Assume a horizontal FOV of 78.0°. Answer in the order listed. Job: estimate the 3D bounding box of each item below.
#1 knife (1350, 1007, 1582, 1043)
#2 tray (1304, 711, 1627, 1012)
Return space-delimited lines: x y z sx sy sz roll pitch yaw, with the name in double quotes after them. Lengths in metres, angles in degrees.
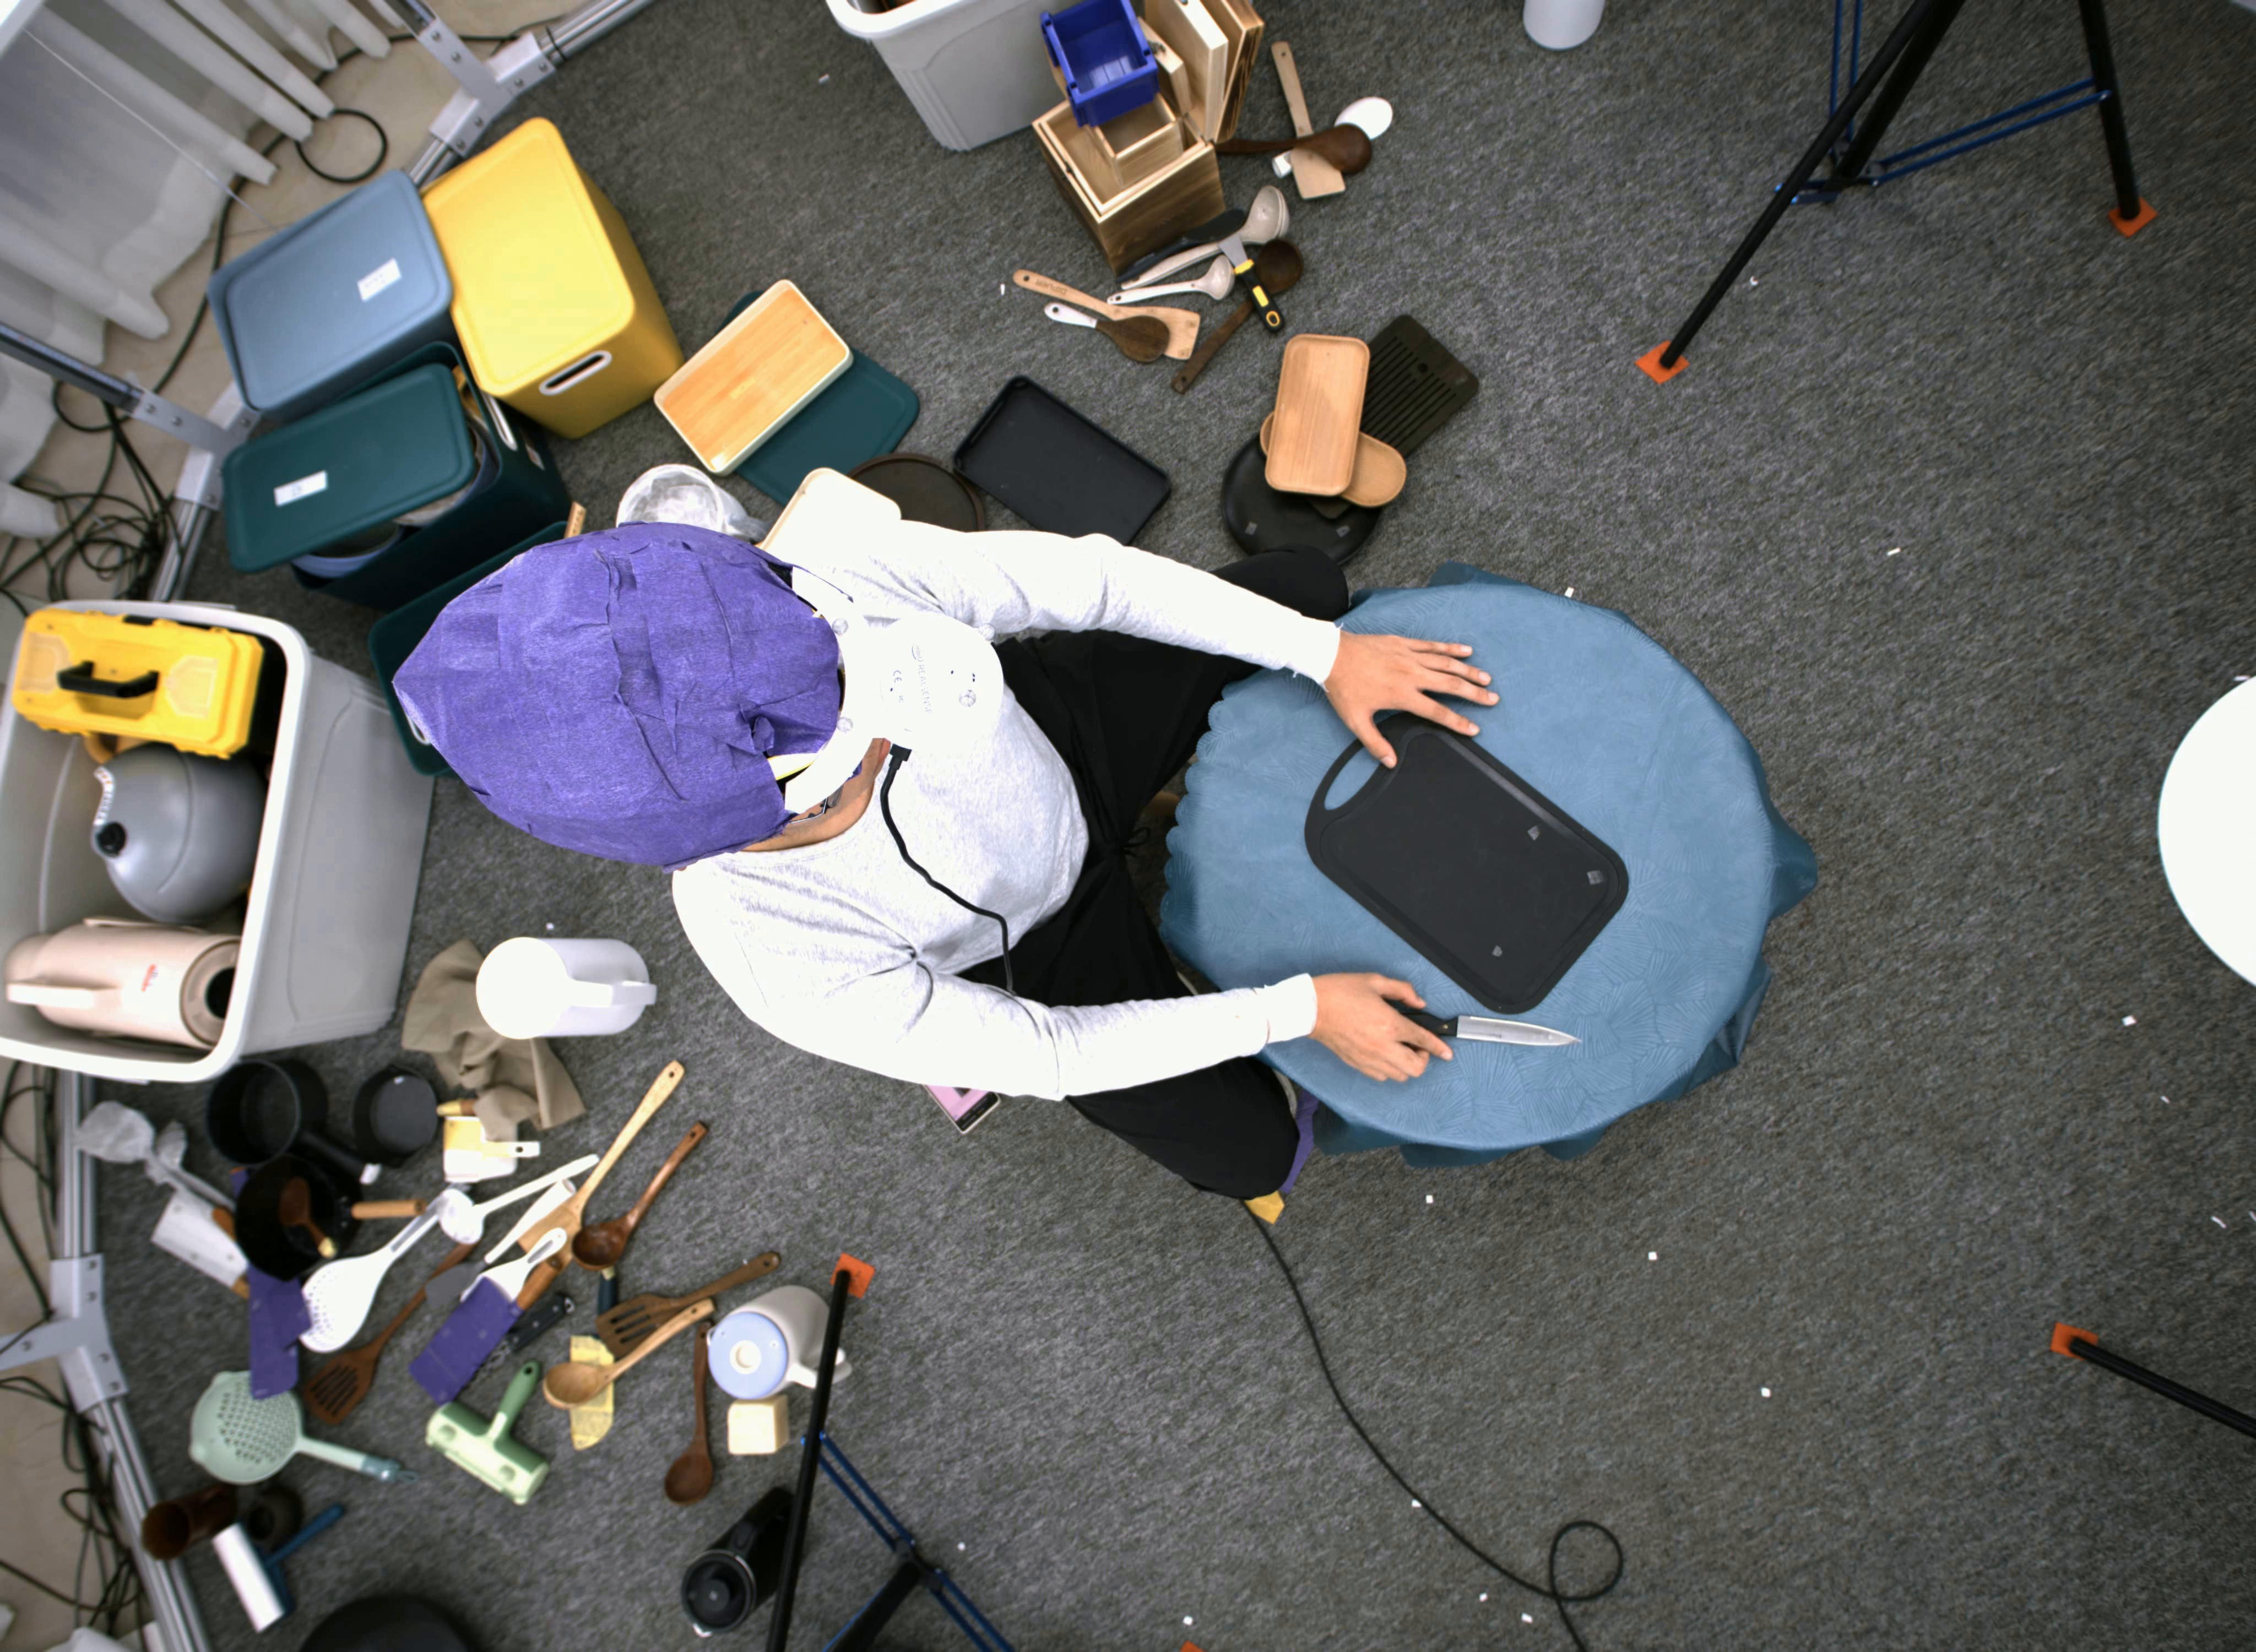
0.350 0.207 1.432 0.239 0.016 0.024 4 89 8 "knife"
0.345 0.028 1.445 0.324 0.010 0.212 41 94 10 "tray"
